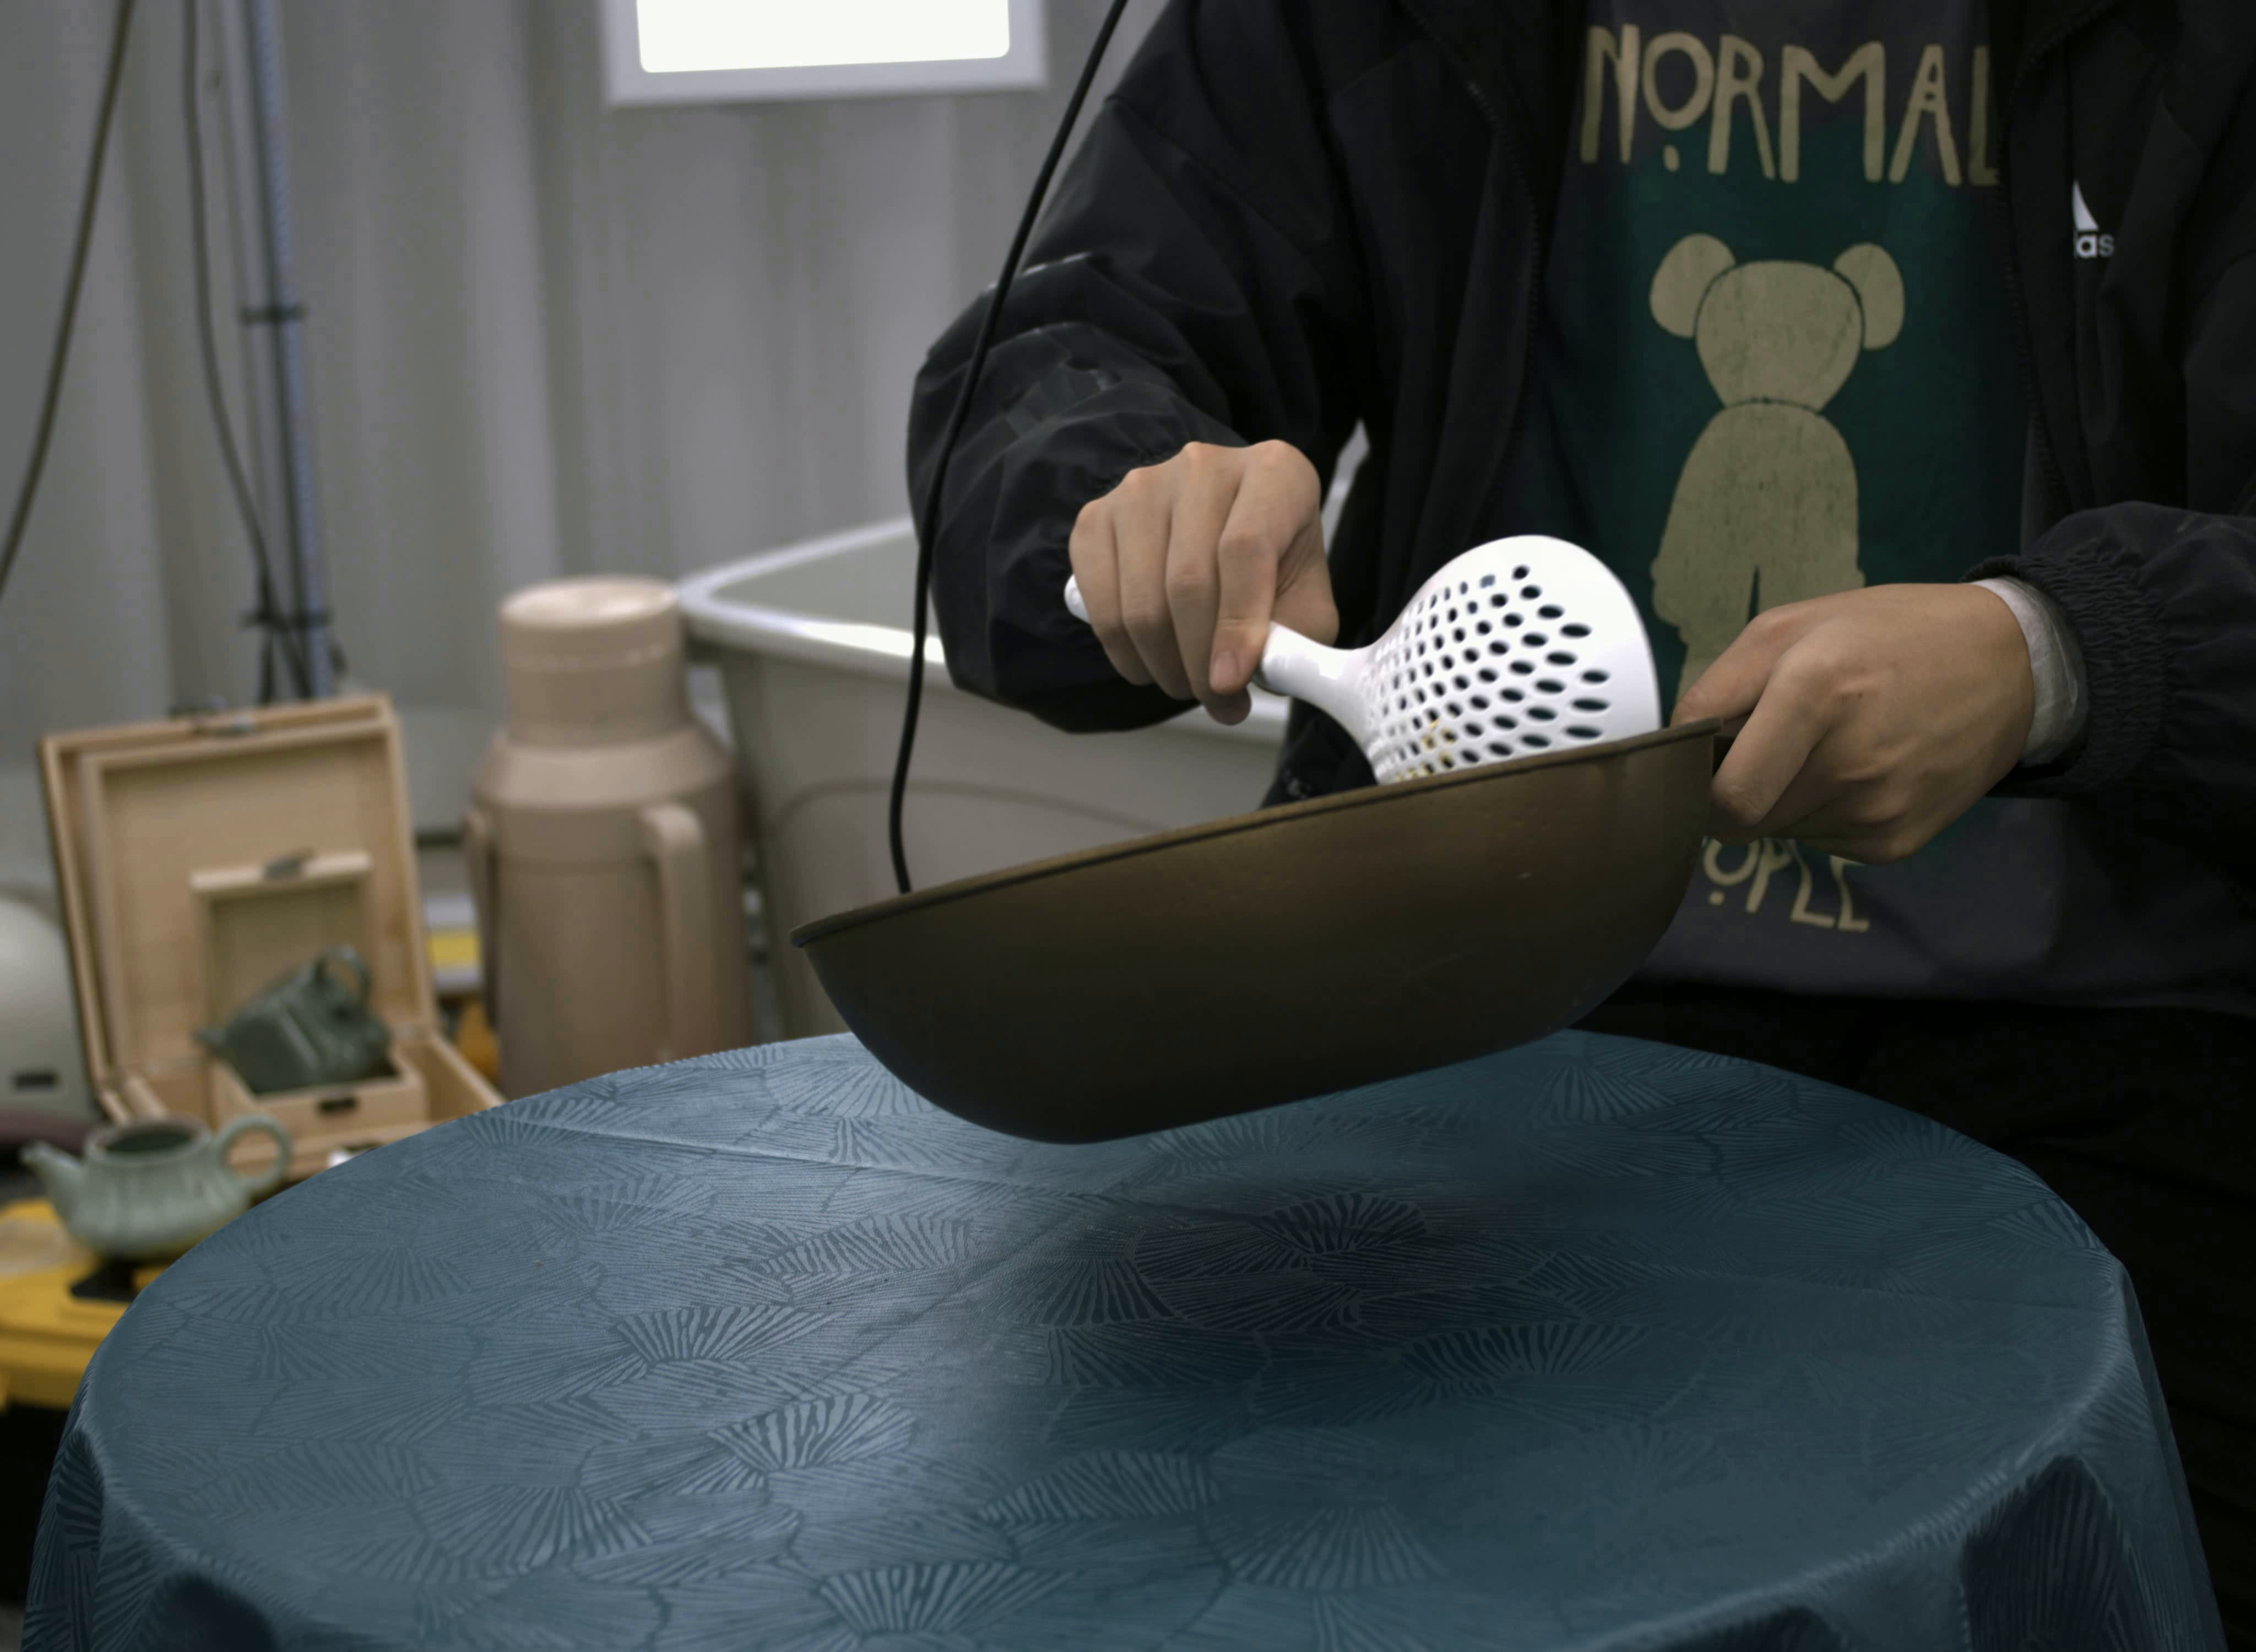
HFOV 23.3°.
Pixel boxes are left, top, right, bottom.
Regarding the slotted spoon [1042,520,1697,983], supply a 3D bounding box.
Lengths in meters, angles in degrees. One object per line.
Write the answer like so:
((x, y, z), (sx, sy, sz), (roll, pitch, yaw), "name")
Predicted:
((0.068, -0.042, 1.702), (0.050, 0.136, 0.350), (-8, 15, -24), "slotted spoon")

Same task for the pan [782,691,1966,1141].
((0.108, 0.024, 1.659), (0.461, 0.087, 0.288), (-10, -3, -44), "pan")
